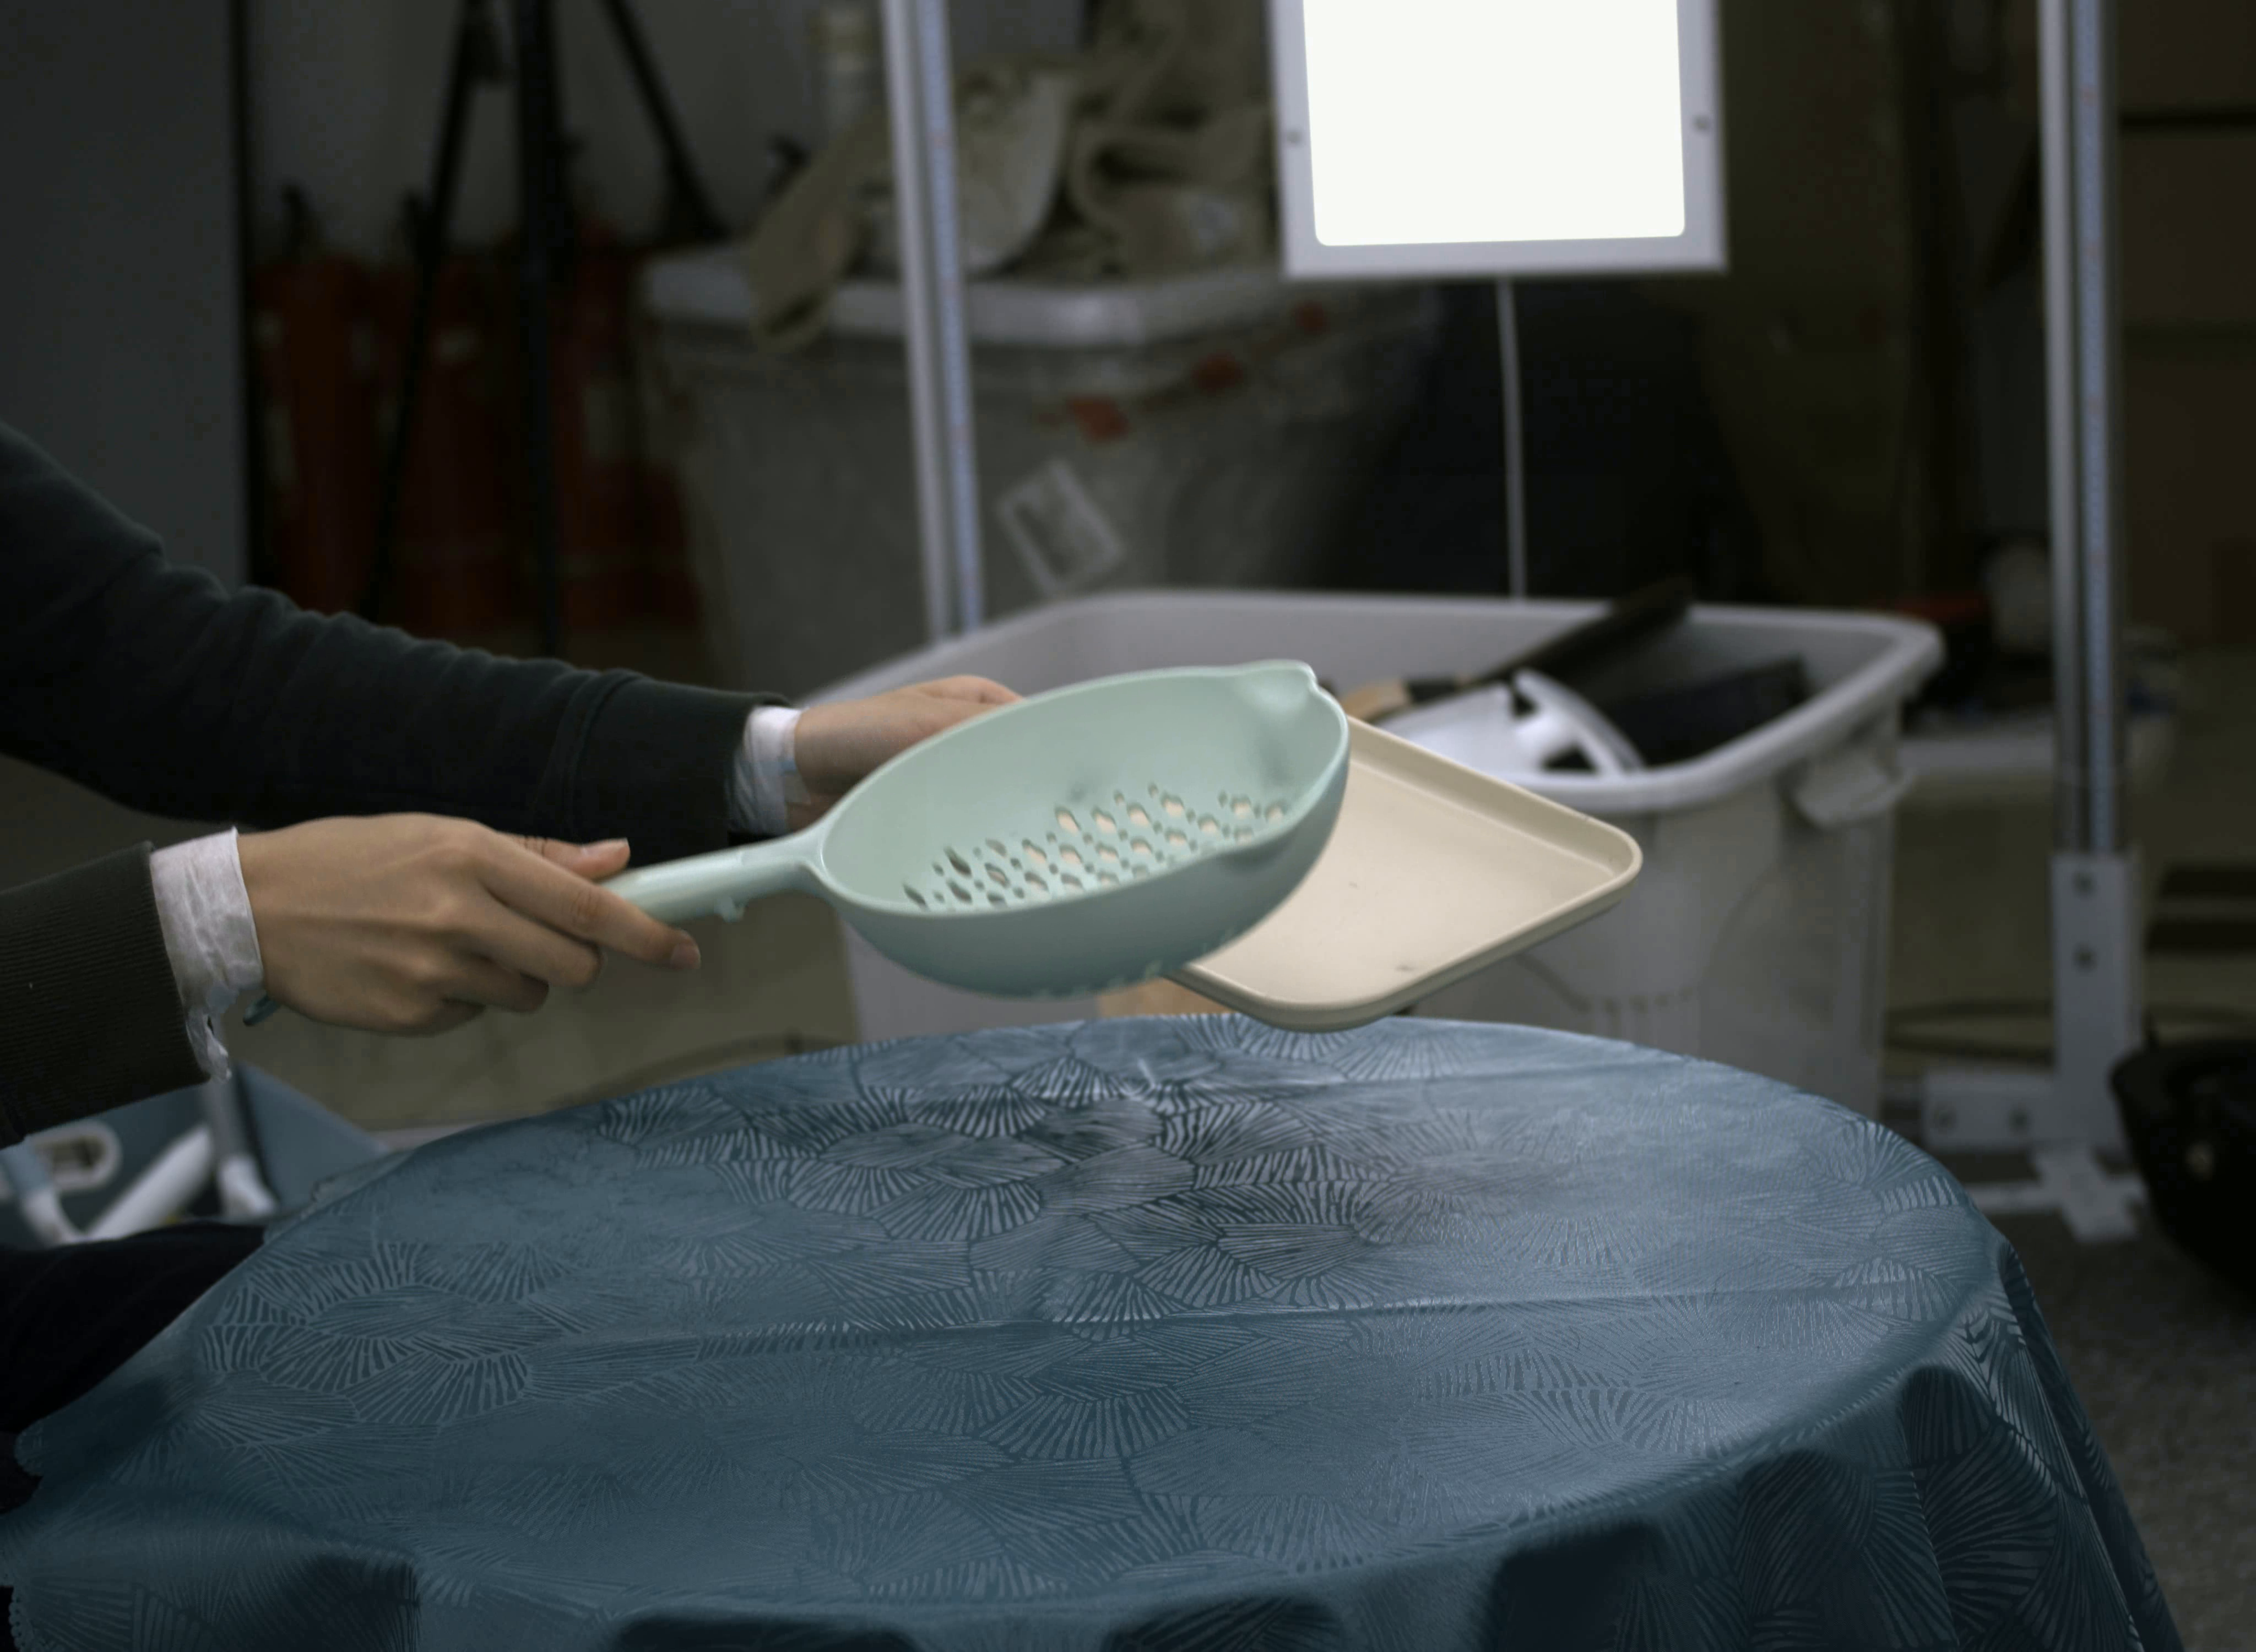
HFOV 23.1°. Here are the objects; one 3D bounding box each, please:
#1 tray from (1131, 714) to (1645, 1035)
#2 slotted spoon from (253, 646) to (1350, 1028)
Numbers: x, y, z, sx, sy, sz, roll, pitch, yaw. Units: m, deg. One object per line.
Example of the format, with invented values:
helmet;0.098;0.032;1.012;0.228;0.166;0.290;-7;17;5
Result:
tray;0.049;0.011;1.911;0.167;0.017;0.244;-24;30;-33
slotted spoon;-0.105;0.015;1.722;0.360;0.075;0.168;-5;23;8
